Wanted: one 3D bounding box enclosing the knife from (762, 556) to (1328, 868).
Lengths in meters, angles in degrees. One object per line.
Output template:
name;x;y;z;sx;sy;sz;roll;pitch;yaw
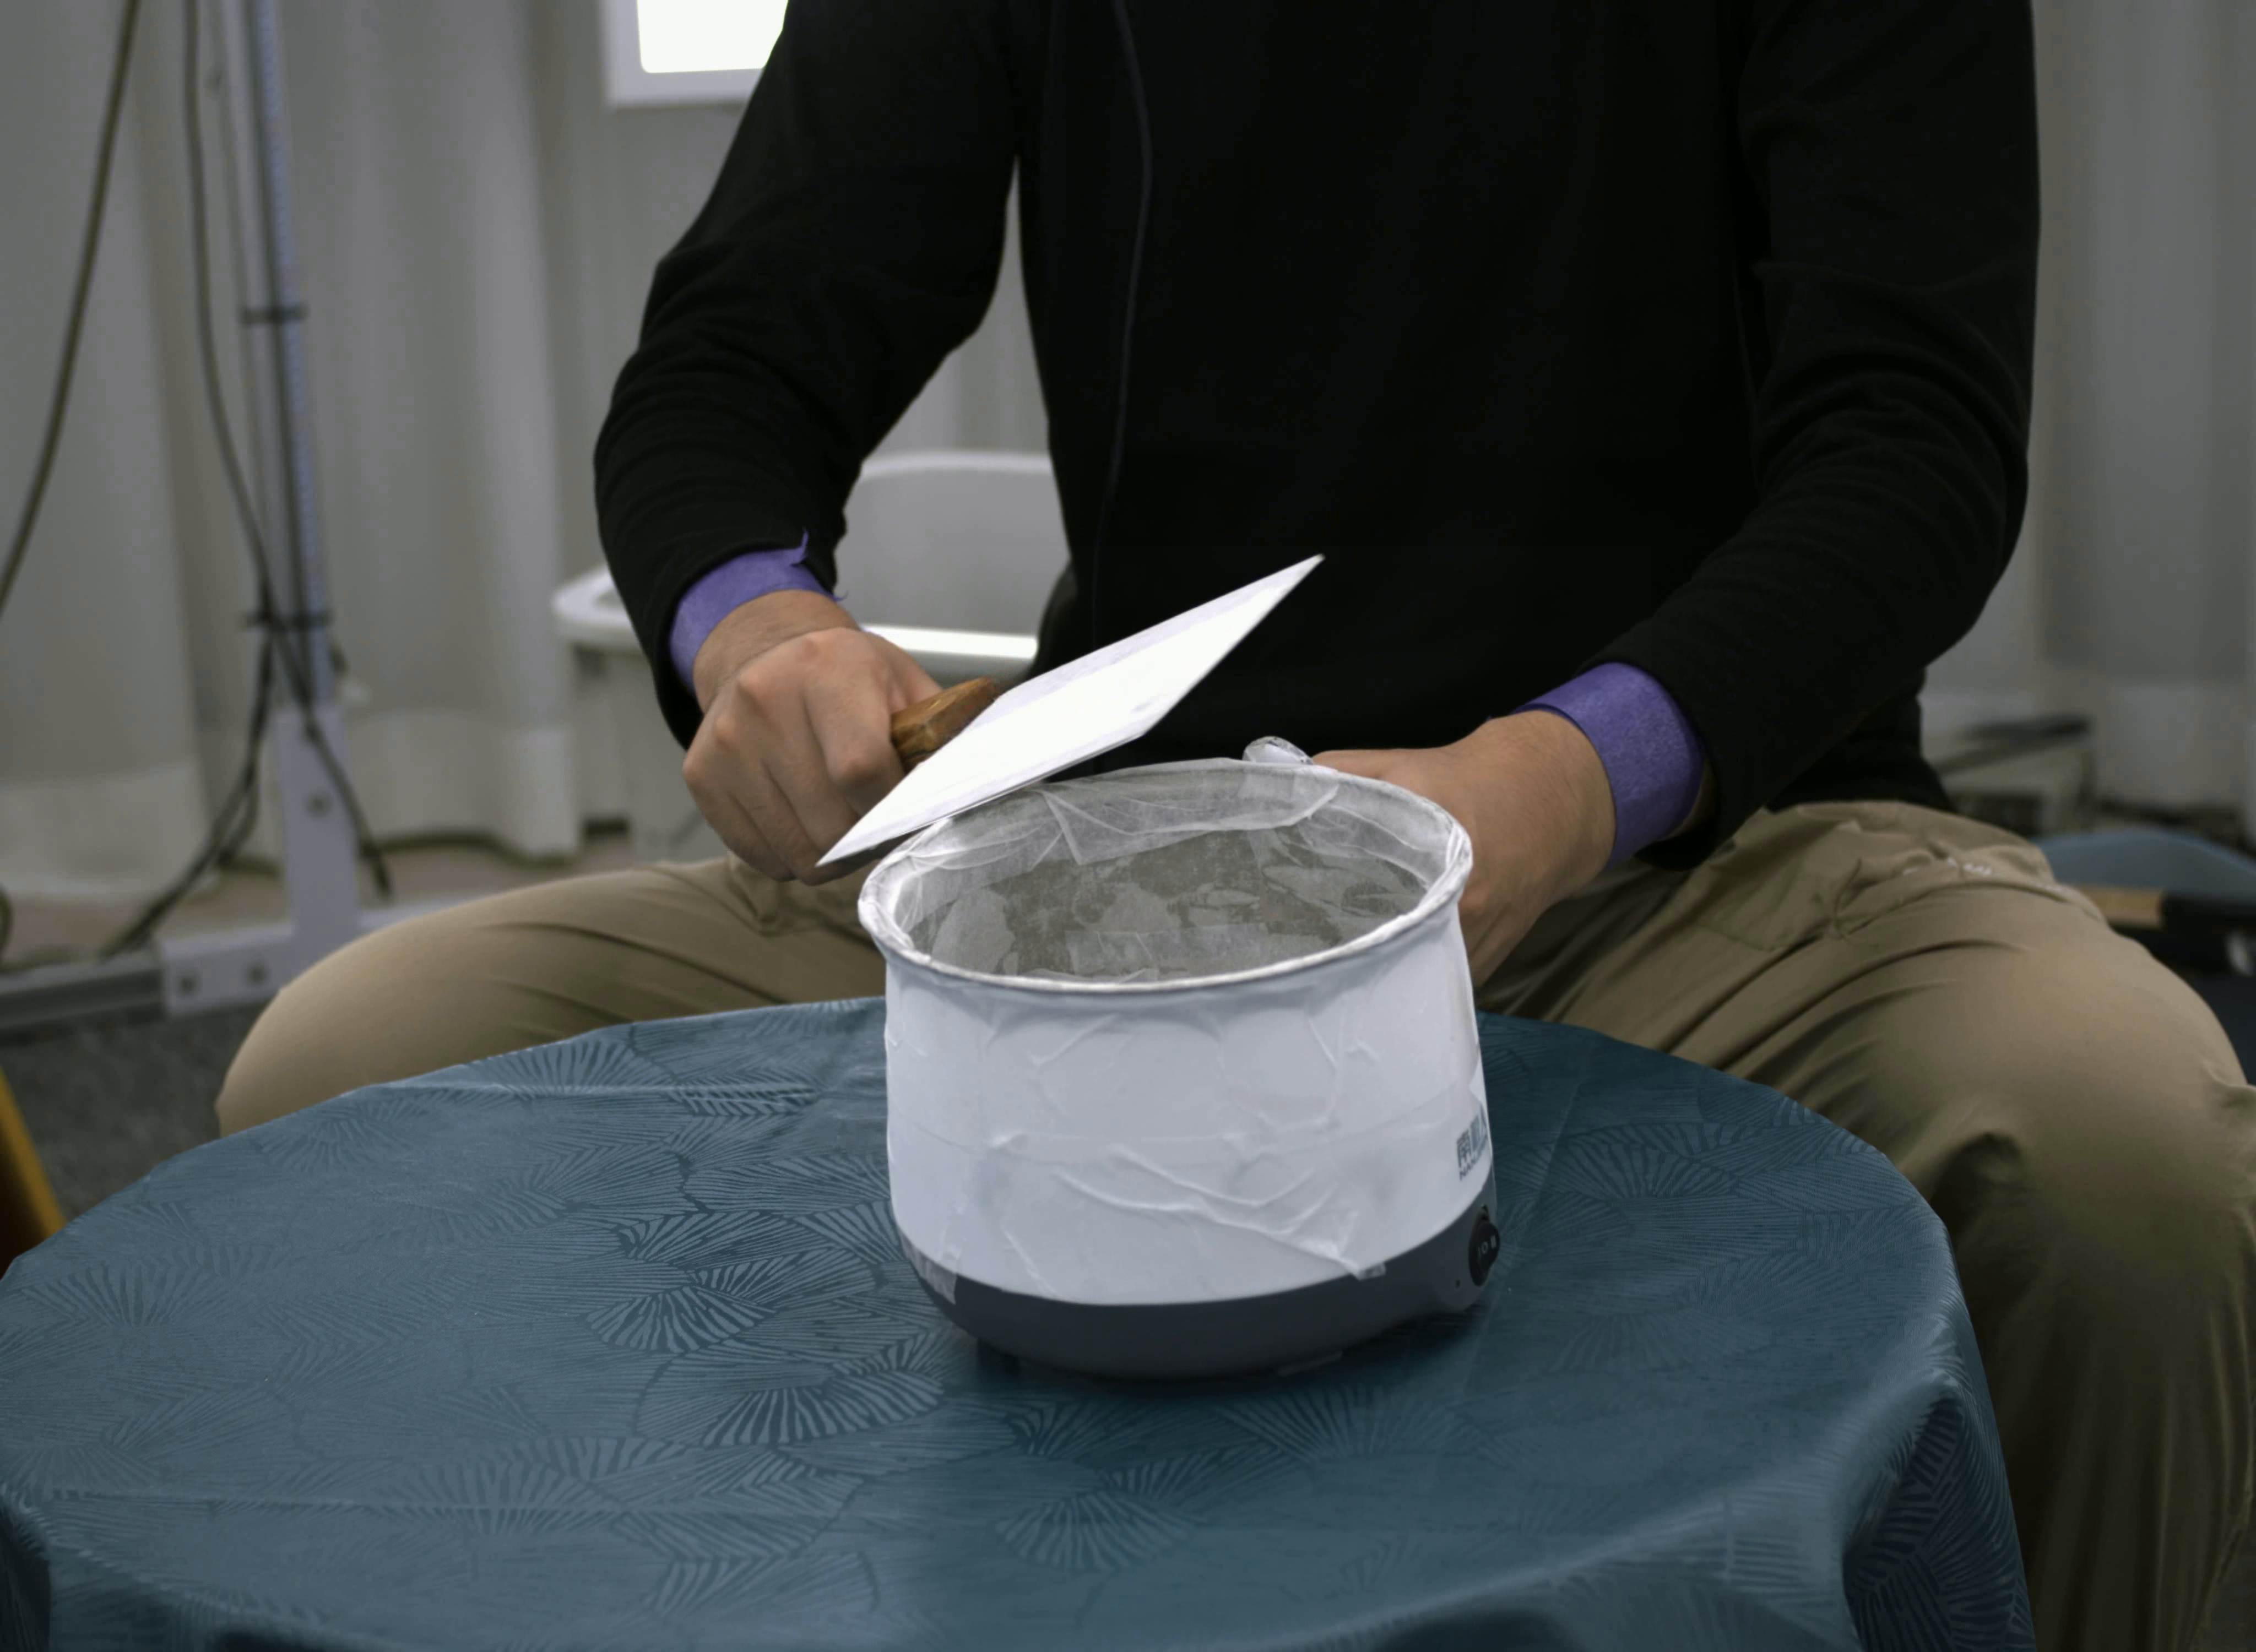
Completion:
knife;-0.046;-0.022;1.694;0.093;0.021;0.305;-42;11;-33

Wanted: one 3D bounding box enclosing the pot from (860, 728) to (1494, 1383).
pot;0.024;0.061;1.613;0.179;0.135;0.235;2;22;18
